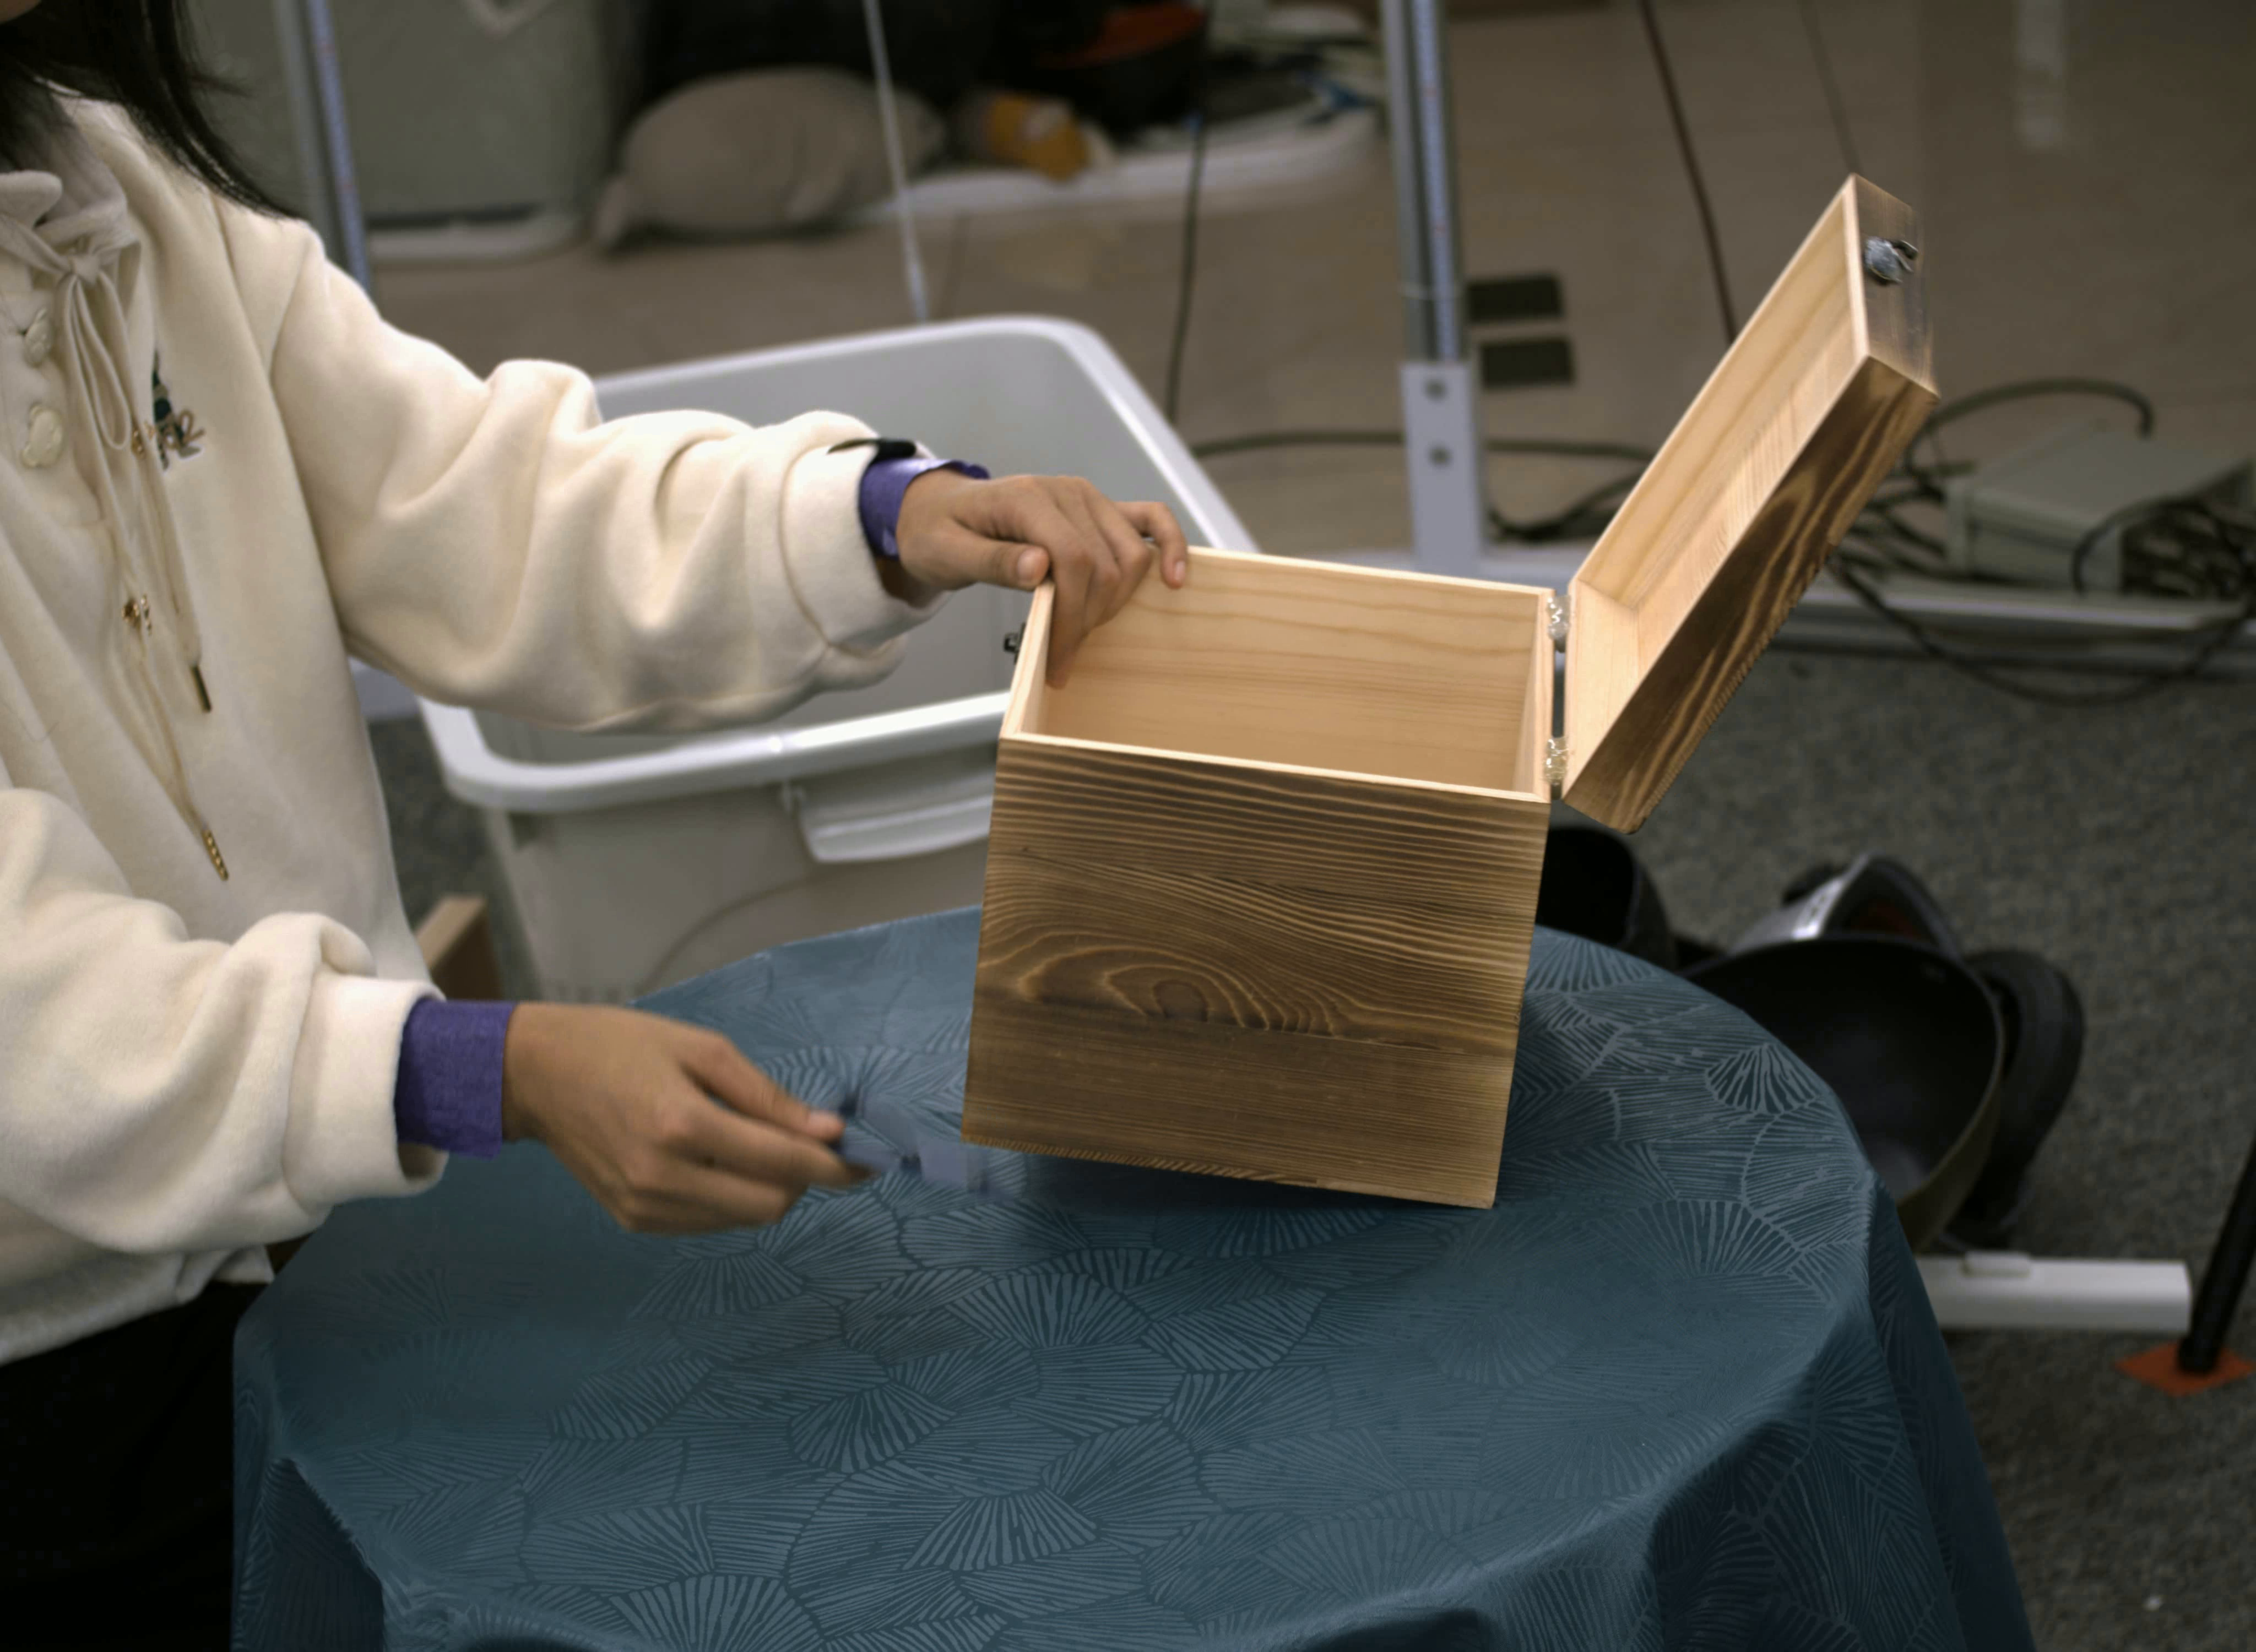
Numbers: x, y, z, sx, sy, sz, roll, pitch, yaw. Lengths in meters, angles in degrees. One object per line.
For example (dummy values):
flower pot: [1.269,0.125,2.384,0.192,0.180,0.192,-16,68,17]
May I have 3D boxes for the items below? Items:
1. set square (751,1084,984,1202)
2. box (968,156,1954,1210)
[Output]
set square: [-0.094,0.112,1.999,0.061,0.006,0.130,-5,17,-18]
box: [0.115,-0.067,2.117,0.321,0.381,0.205,8,26,1]
